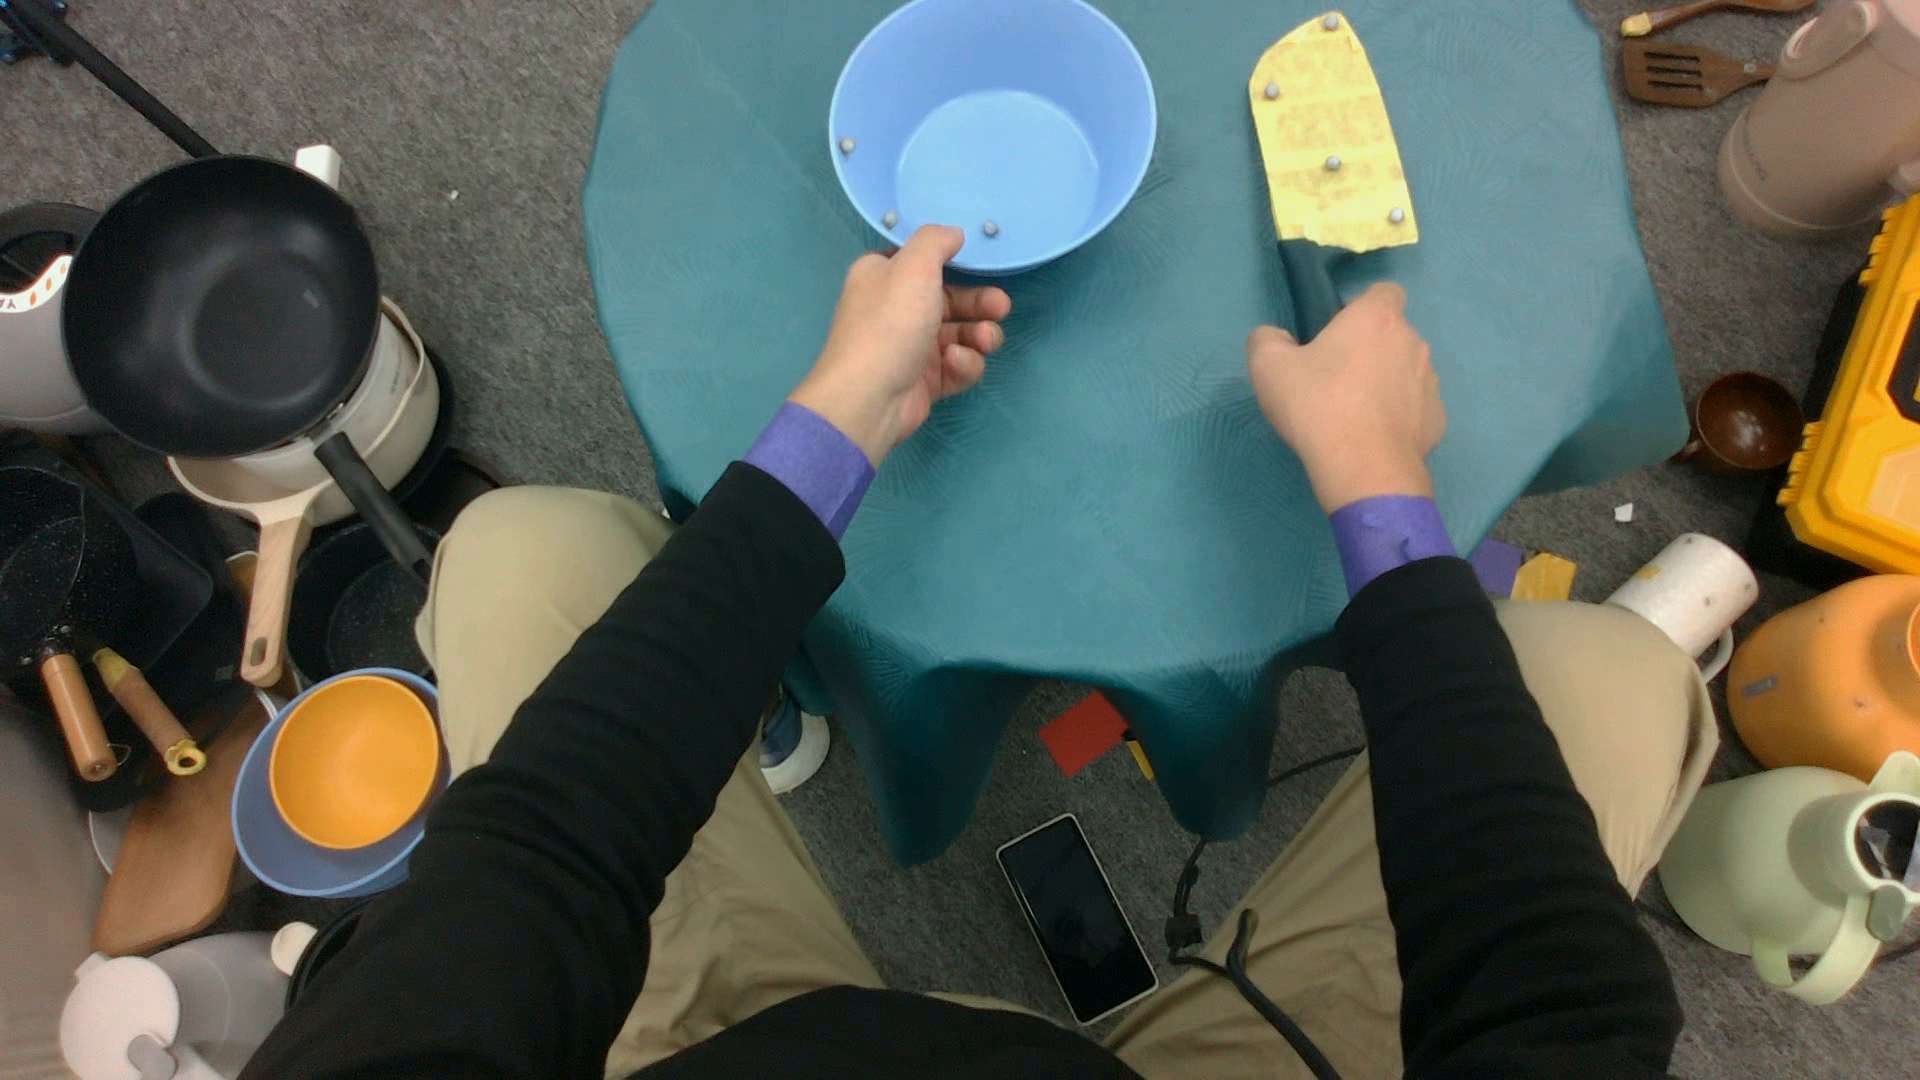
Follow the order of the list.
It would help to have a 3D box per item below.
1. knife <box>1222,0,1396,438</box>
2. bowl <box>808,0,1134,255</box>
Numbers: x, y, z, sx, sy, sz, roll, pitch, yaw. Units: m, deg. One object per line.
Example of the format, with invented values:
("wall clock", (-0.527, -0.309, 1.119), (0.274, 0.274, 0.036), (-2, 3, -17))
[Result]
("knife", (0.197, -0.189, 0.762), (0.081, 0.027, 0.290), (-6, 67, 6))
("bowl", (0.007, -0.227, 0.769), (0.176, 0.070, 0.176), (-1, 74, 2))
